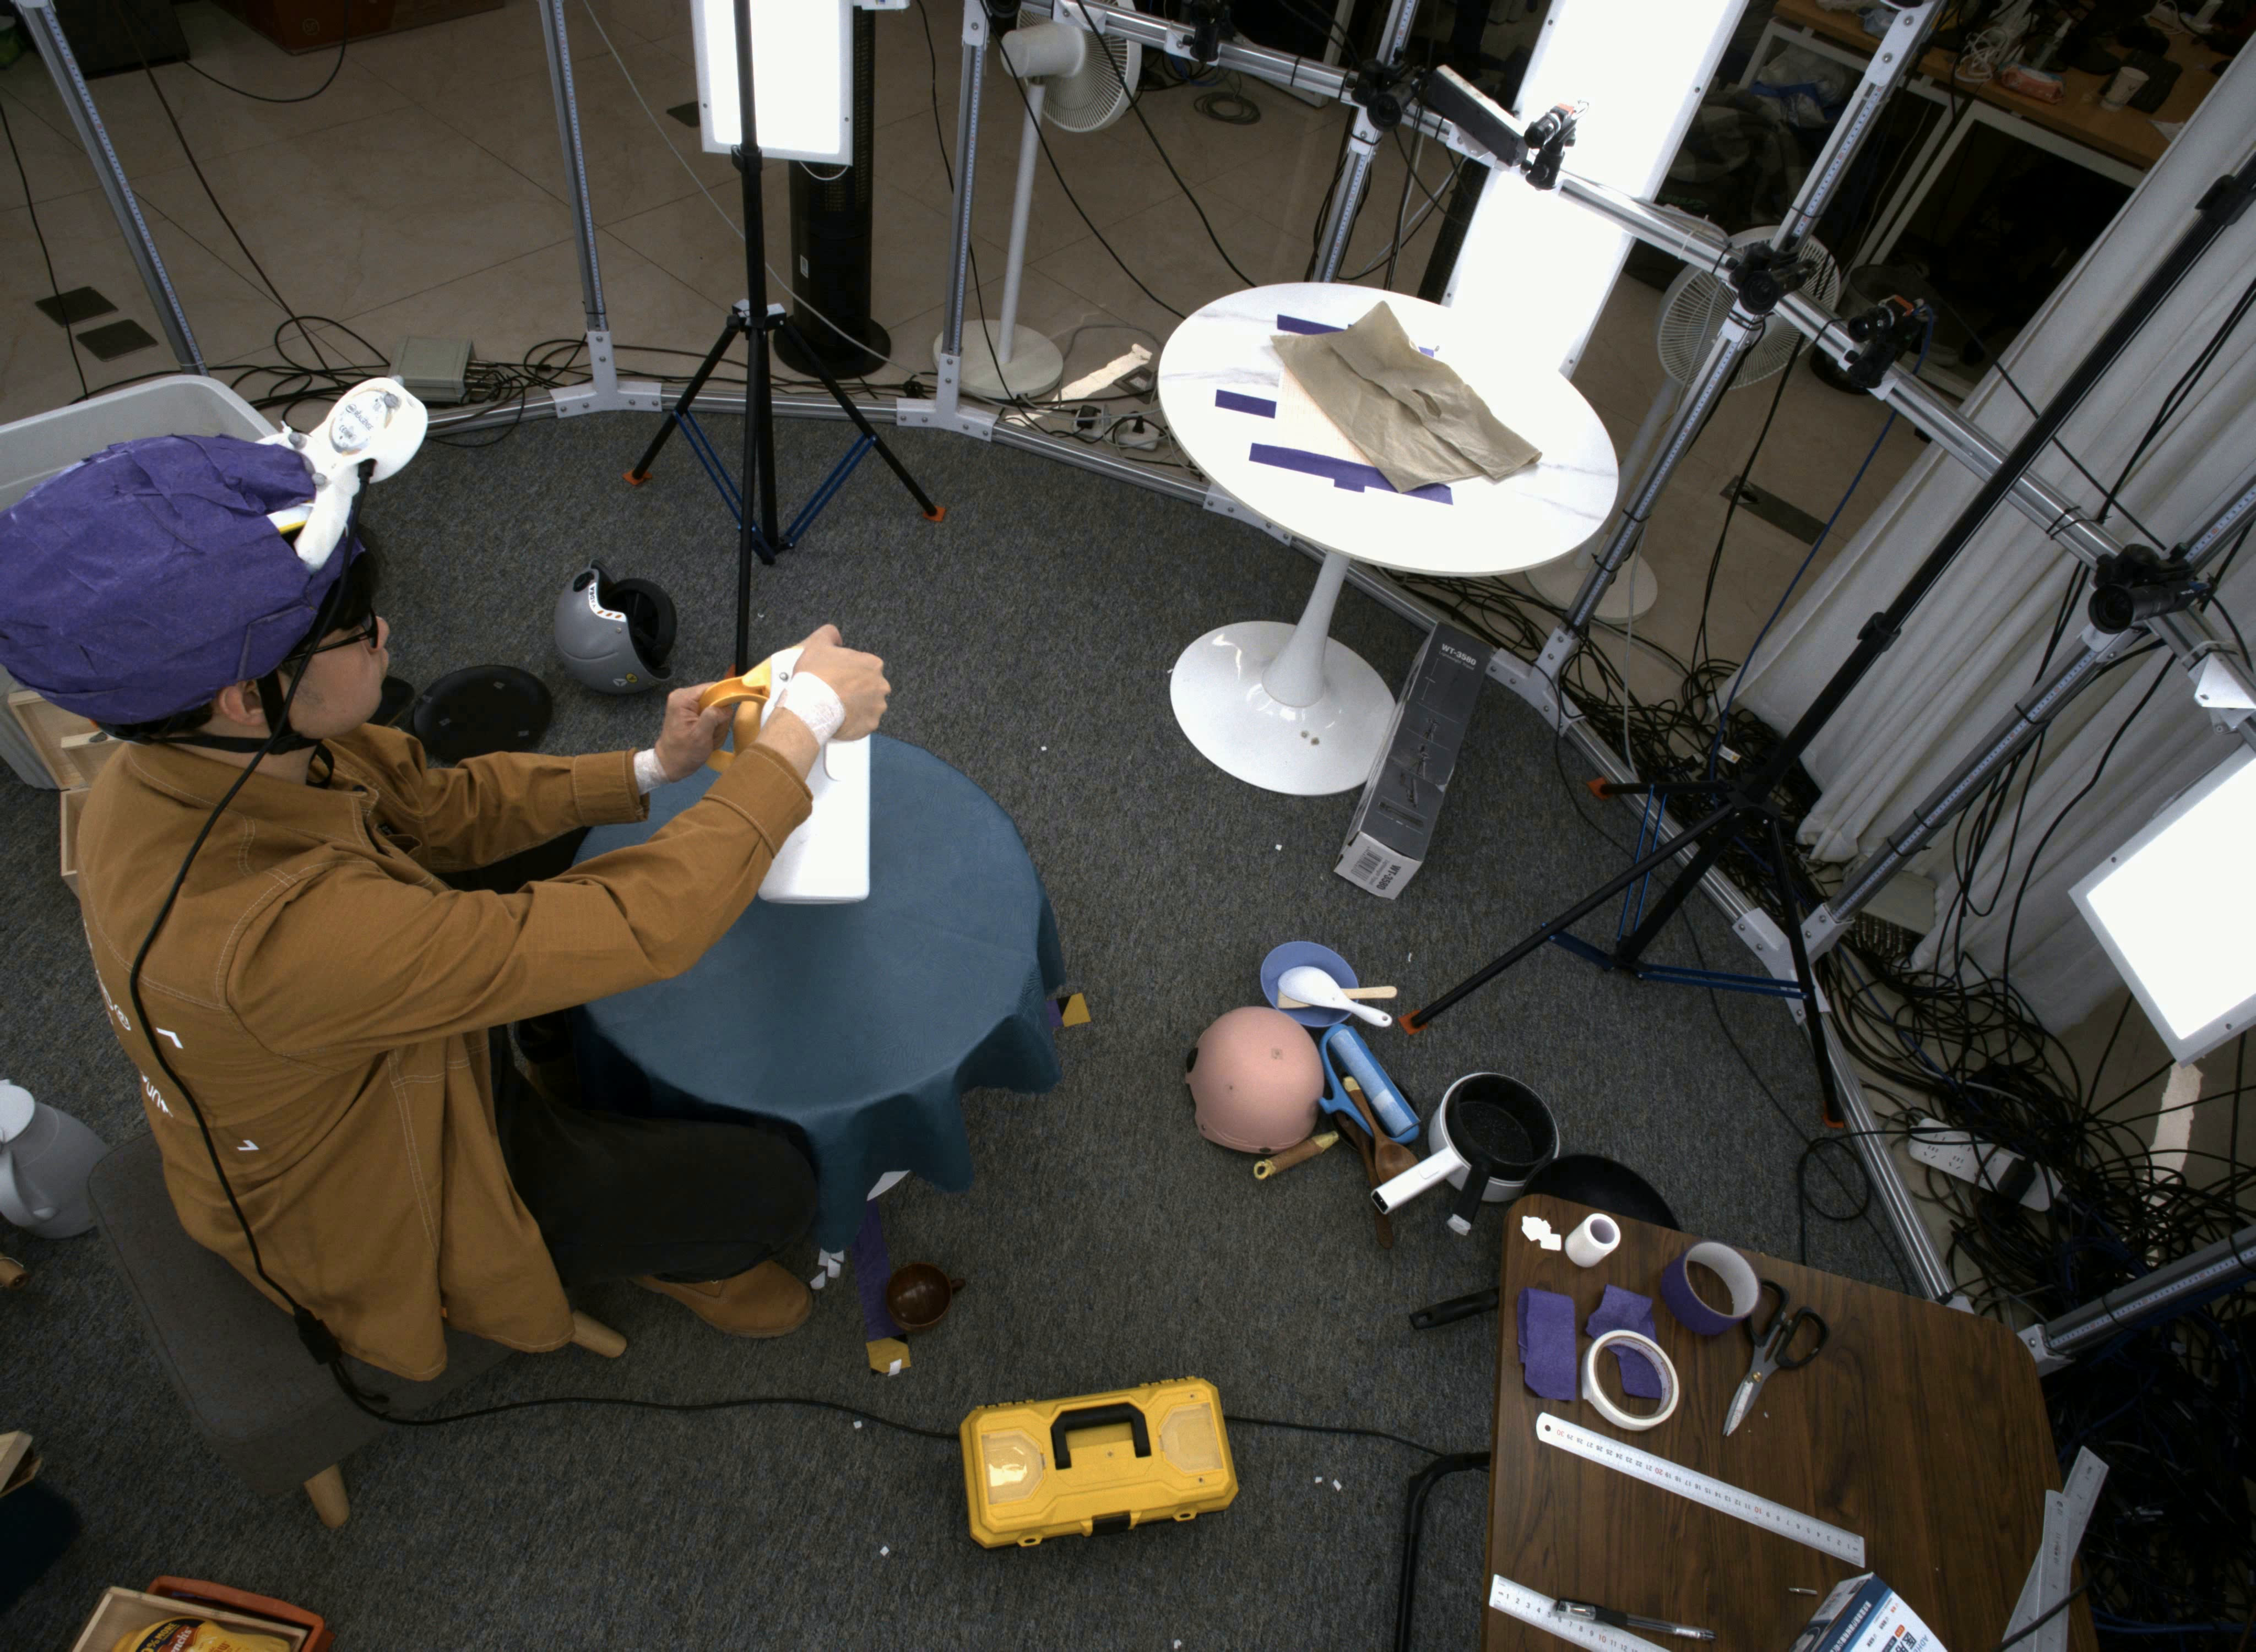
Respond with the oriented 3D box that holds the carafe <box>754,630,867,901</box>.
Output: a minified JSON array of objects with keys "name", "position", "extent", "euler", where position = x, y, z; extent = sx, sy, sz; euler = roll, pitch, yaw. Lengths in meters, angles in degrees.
[{"name":"carafe","position":[-0.330,-0.062,1.365],"extent":[0.125,0.169,0.270],"euler":[4,83,-27]}]

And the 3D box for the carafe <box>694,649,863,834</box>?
[{"name":"carafe","position":[-0.425,-0.109,1.582],"extent":[0.203,0.265,0.159],"euler":[-5,54,-20]}]
